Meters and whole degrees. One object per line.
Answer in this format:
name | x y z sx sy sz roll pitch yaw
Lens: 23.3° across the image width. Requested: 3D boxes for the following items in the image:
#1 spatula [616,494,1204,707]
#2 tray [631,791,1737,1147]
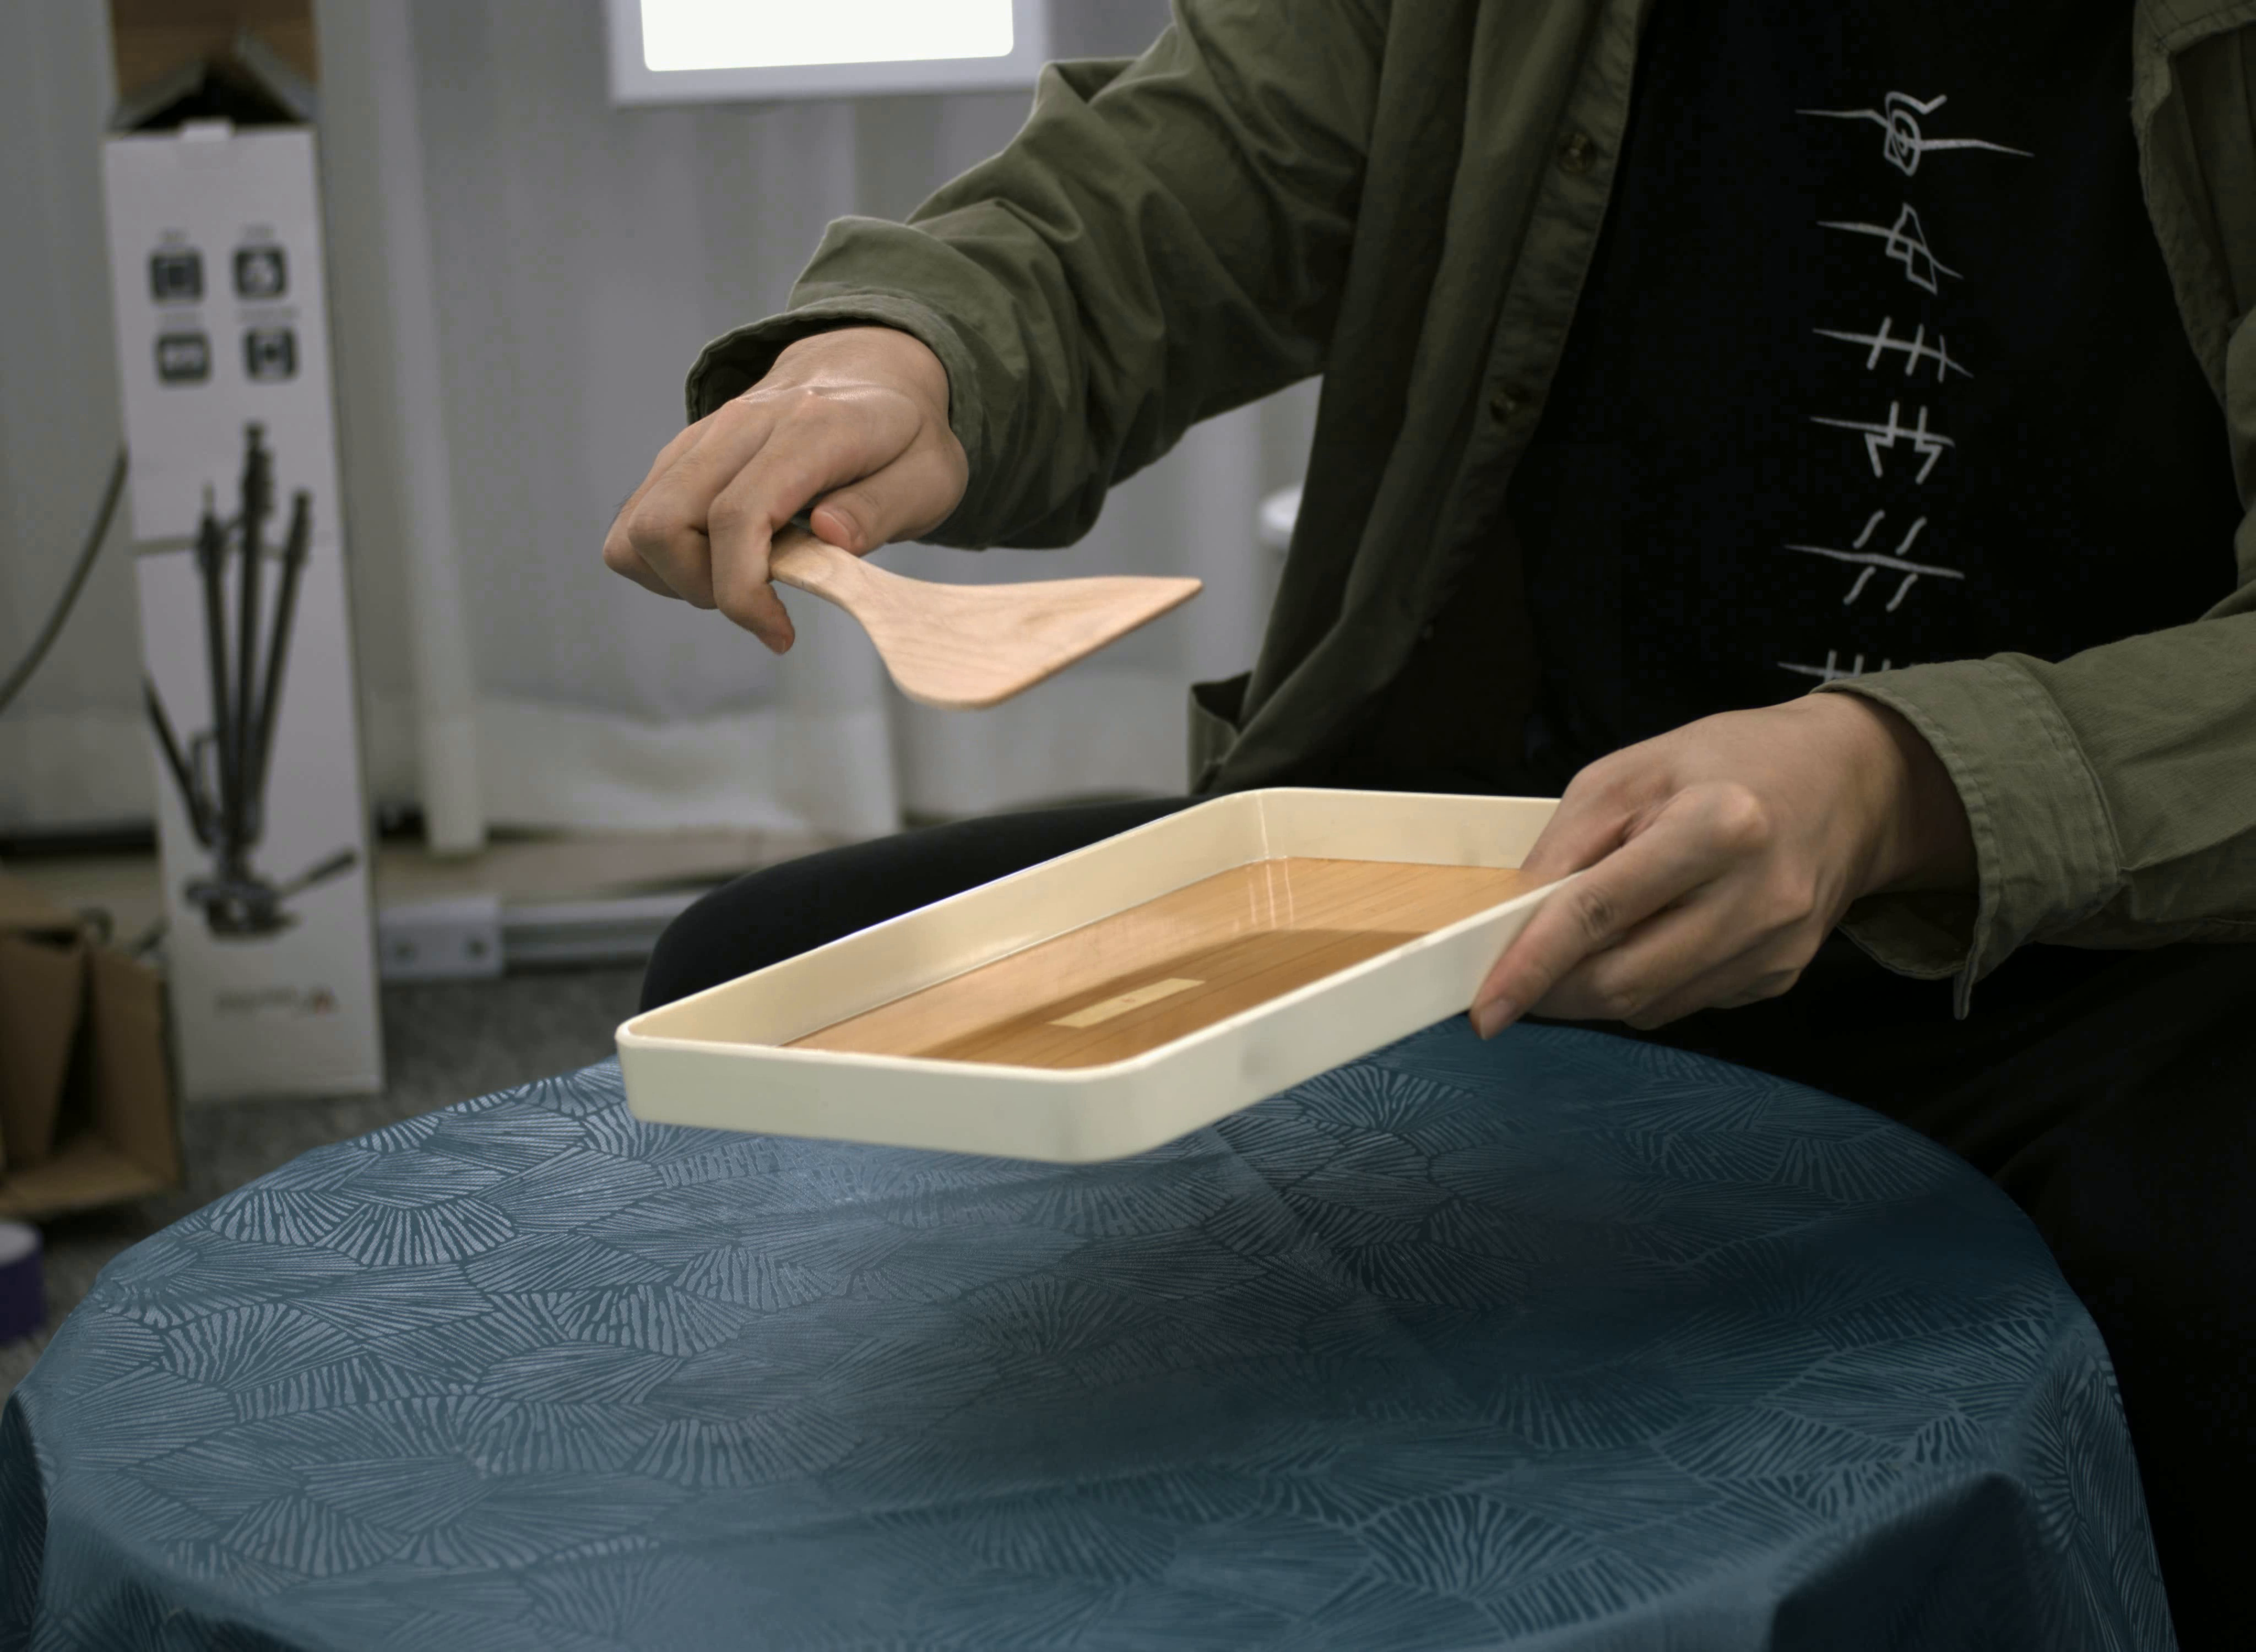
spatula | -0.079 -0.074 1.612 0.080 0.016 0.330 -27 22 -21
tray | 0.021 0.037 1.578 0.192 0.027 0.300 2 14 41
